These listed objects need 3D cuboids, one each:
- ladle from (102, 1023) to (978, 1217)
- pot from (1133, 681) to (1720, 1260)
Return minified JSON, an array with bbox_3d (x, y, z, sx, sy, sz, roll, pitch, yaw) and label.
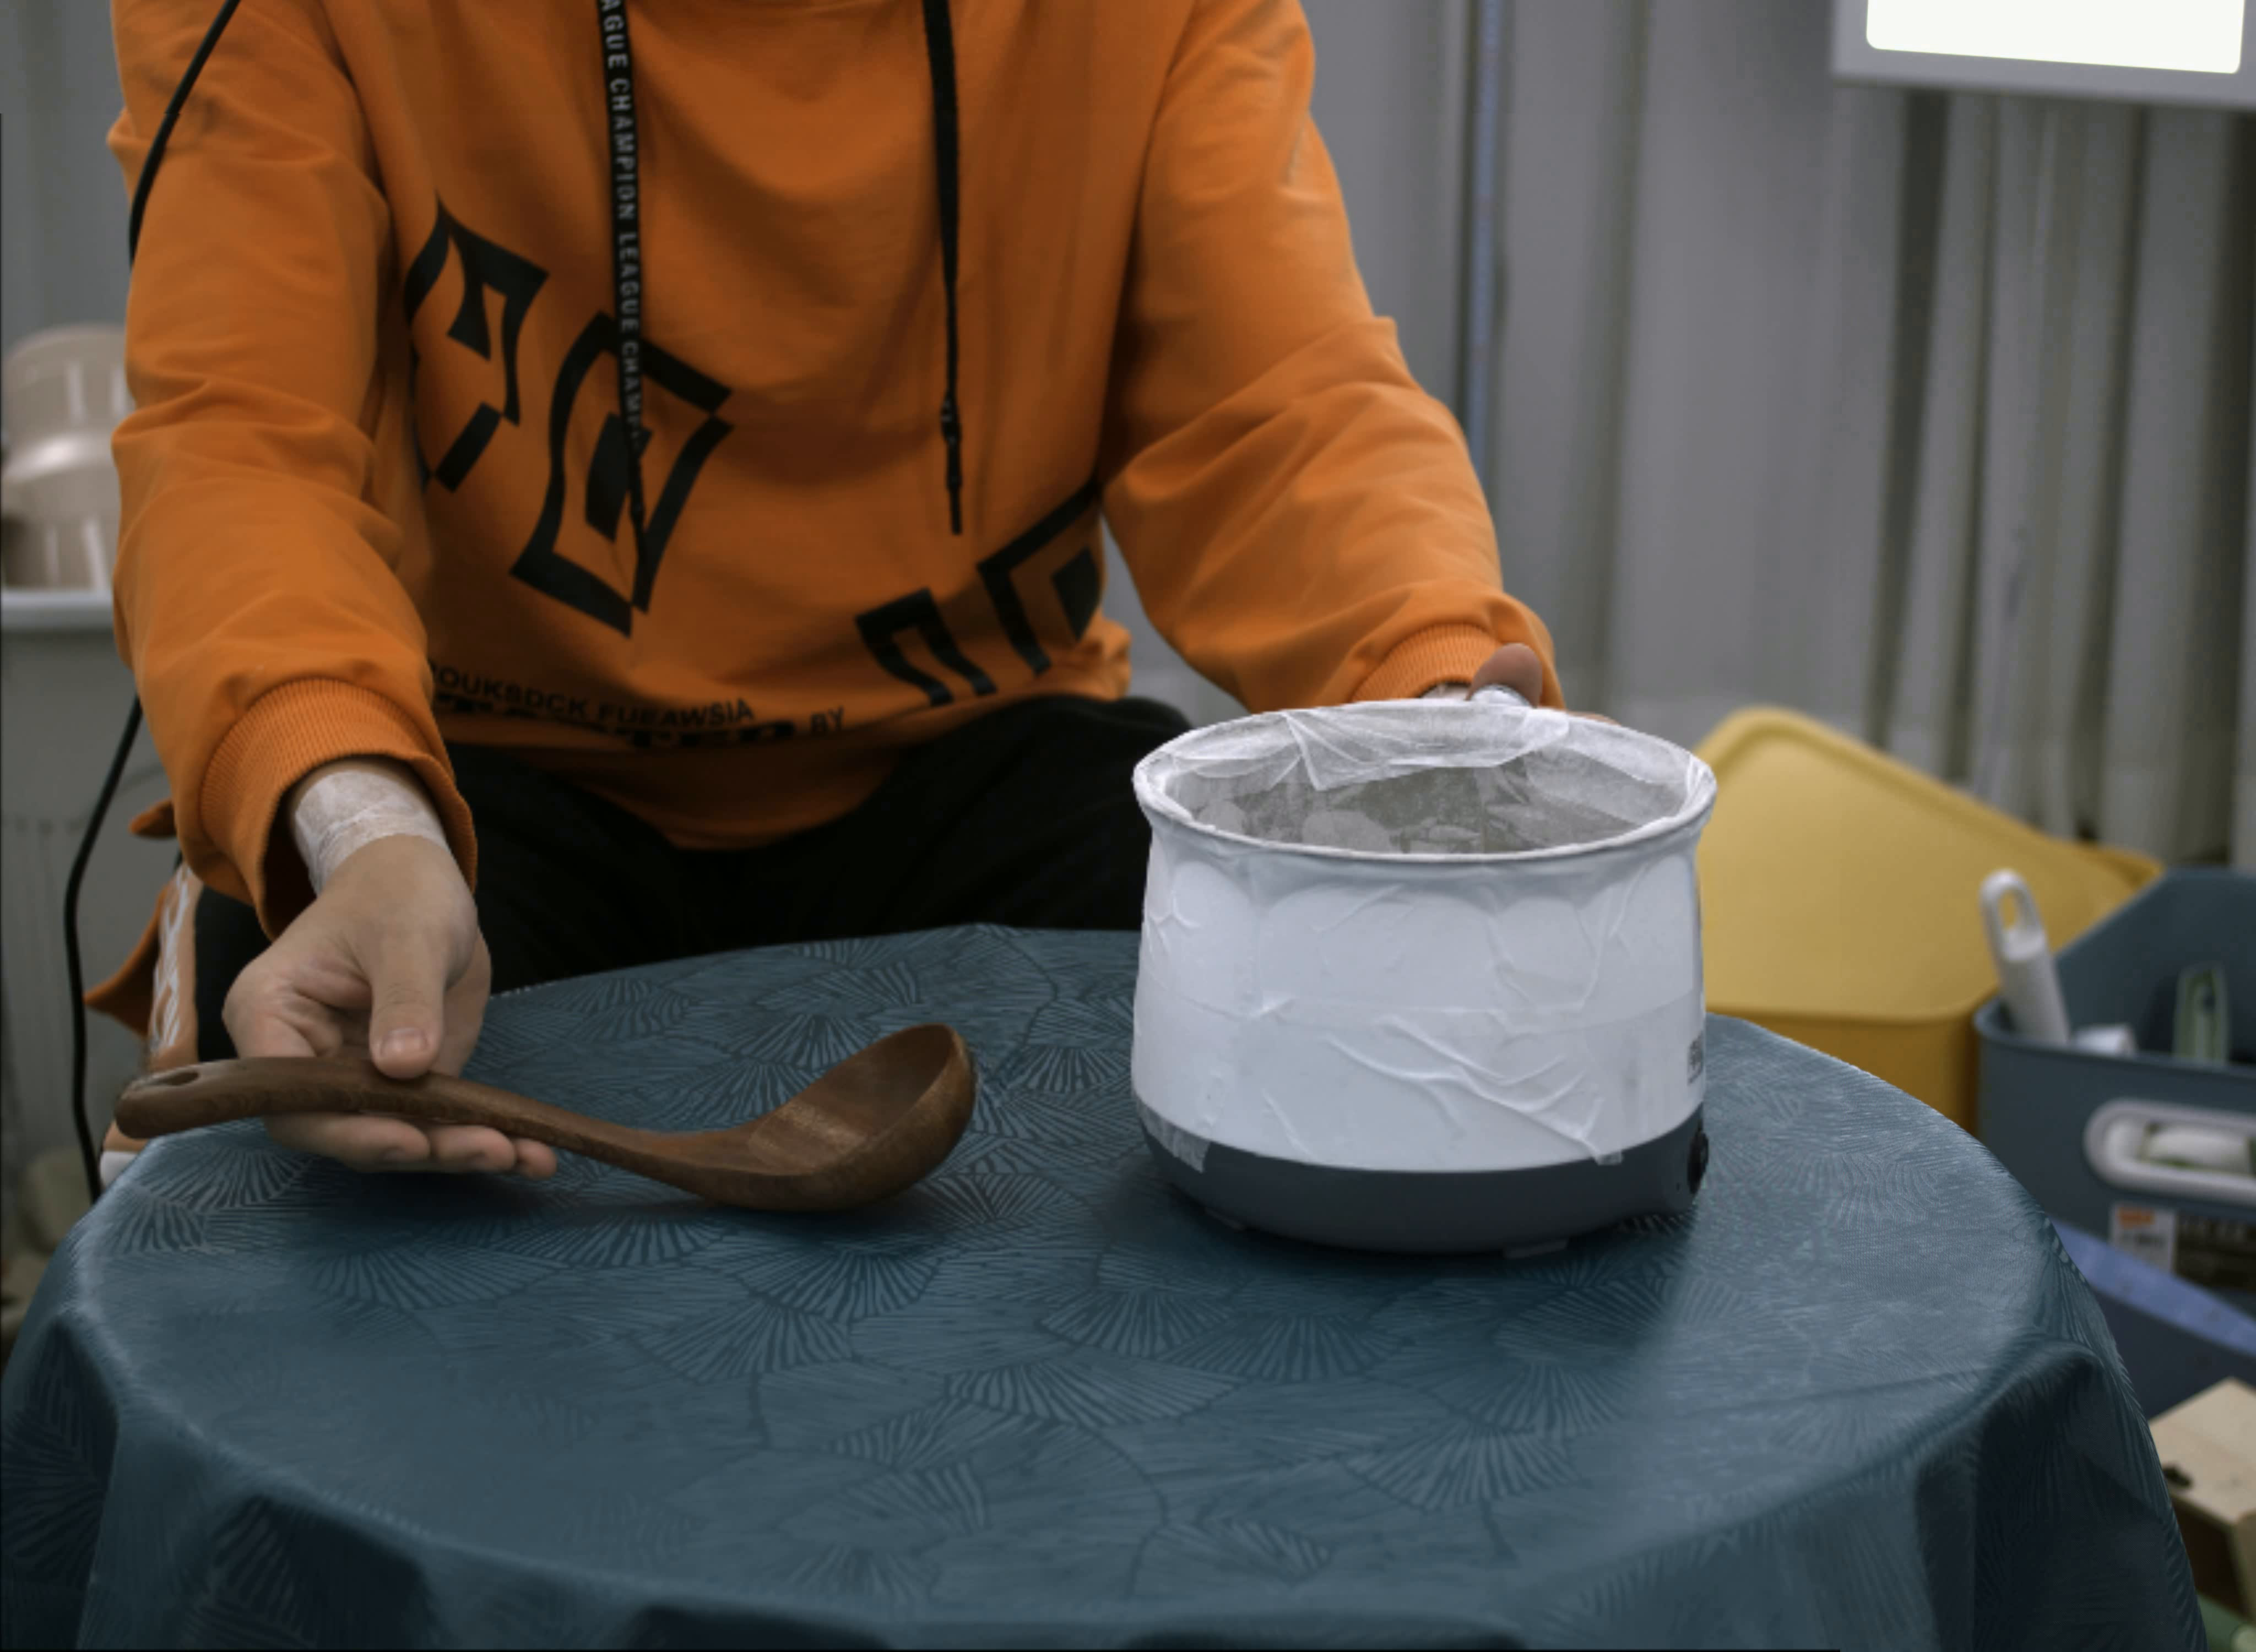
[{"bbox_3d":[-0.175,0.077,1.587,0.260,0.065,0.076,8,14,-8],"label":"ladle"},{"bbox_3d":[0.097,0.038,1.633,0.177,0.138,0.233,5,17,14],"label":"pot"}]
